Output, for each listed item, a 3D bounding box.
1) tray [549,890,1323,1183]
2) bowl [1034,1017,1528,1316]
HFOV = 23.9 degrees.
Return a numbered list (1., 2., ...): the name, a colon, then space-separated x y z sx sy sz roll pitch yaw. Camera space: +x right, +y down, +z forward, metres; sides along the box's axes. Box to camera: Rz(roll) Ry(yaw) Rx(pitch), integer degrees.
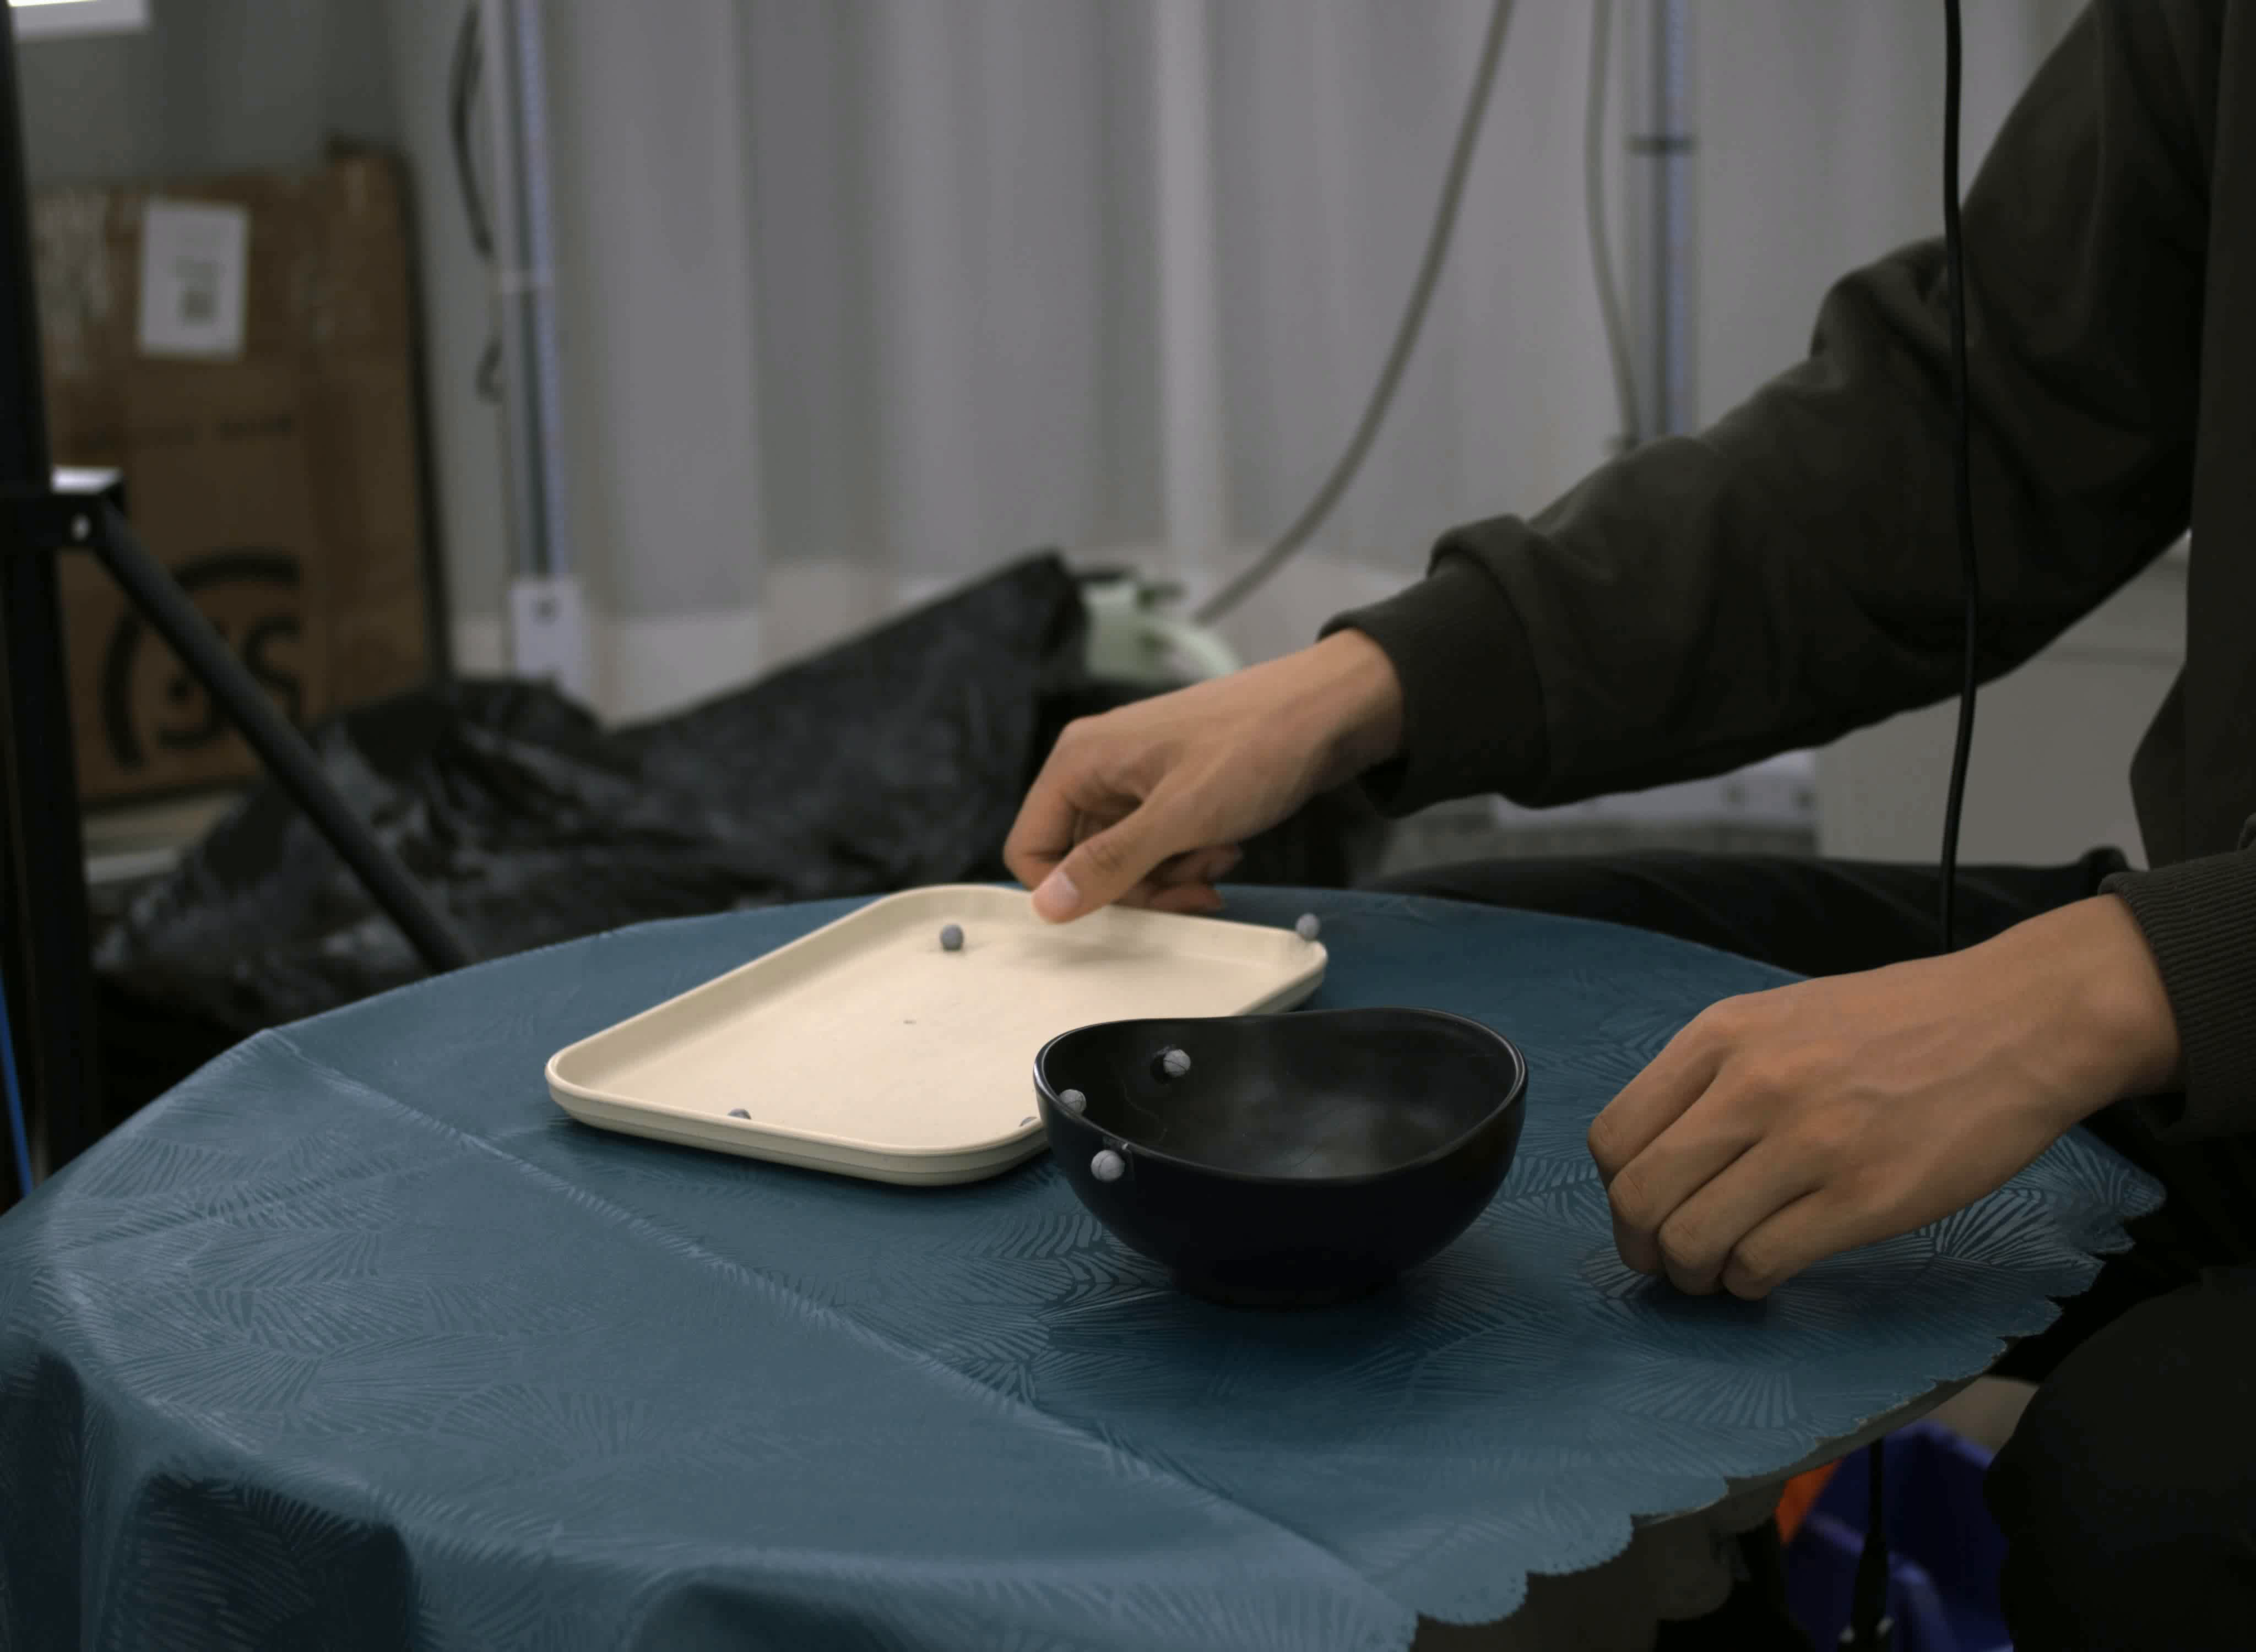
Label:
1. tray: -0.057 0.065 1.687 0.174 0.017 0.235 7 18 31
2. bowl: 0.042 0.097 1.484 0.136 0.067 0.172 -3 14 -6
